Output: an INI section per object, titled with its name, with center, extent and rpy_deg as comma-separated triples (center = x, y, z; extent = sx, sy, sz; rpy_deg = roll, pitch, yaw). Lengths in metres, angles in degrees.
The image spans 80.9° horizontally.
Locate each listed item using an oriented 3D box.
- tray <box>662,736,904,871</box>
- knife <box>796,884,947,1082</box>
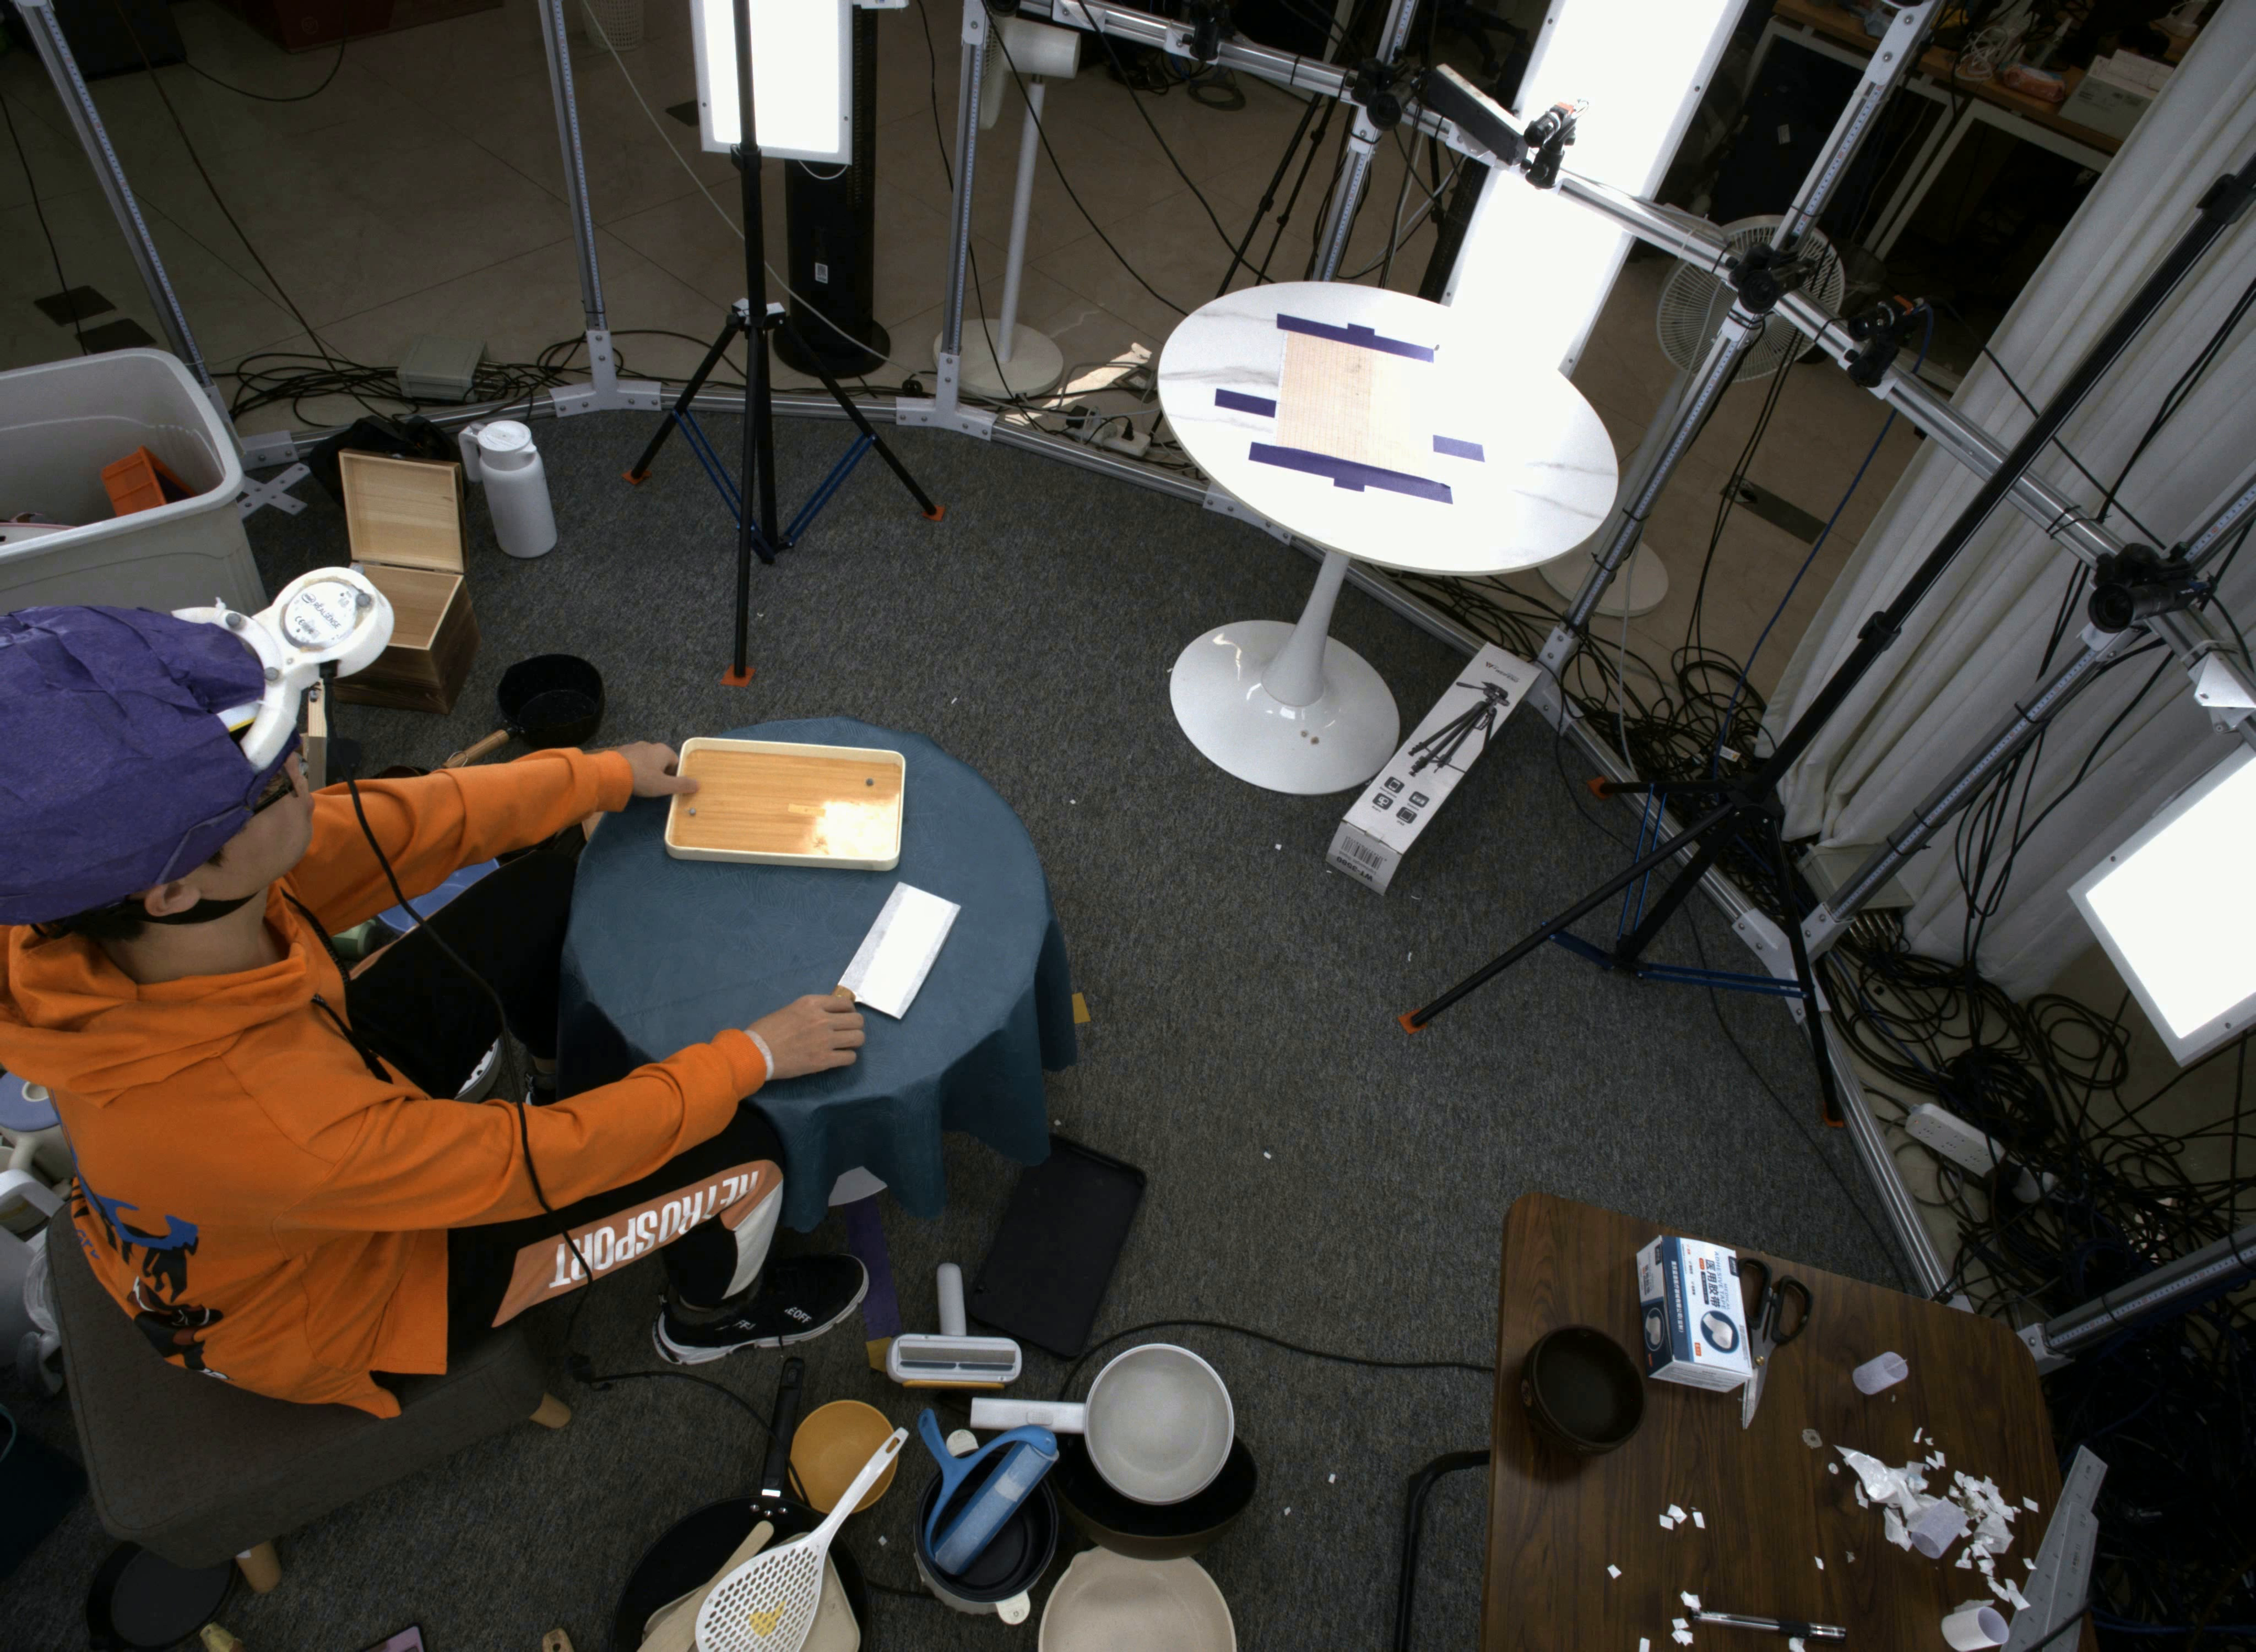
[tray]
center = -0.451, -0.031, 1.712
extent = 0.300, 0.028, 0.188
rpy_deg = 4, 53, -13
[knife]
center = -0.305, 0.191, 1.593
extent = 0.092, 0.021, 0.303
rpy_deg = 23, 49, 1
